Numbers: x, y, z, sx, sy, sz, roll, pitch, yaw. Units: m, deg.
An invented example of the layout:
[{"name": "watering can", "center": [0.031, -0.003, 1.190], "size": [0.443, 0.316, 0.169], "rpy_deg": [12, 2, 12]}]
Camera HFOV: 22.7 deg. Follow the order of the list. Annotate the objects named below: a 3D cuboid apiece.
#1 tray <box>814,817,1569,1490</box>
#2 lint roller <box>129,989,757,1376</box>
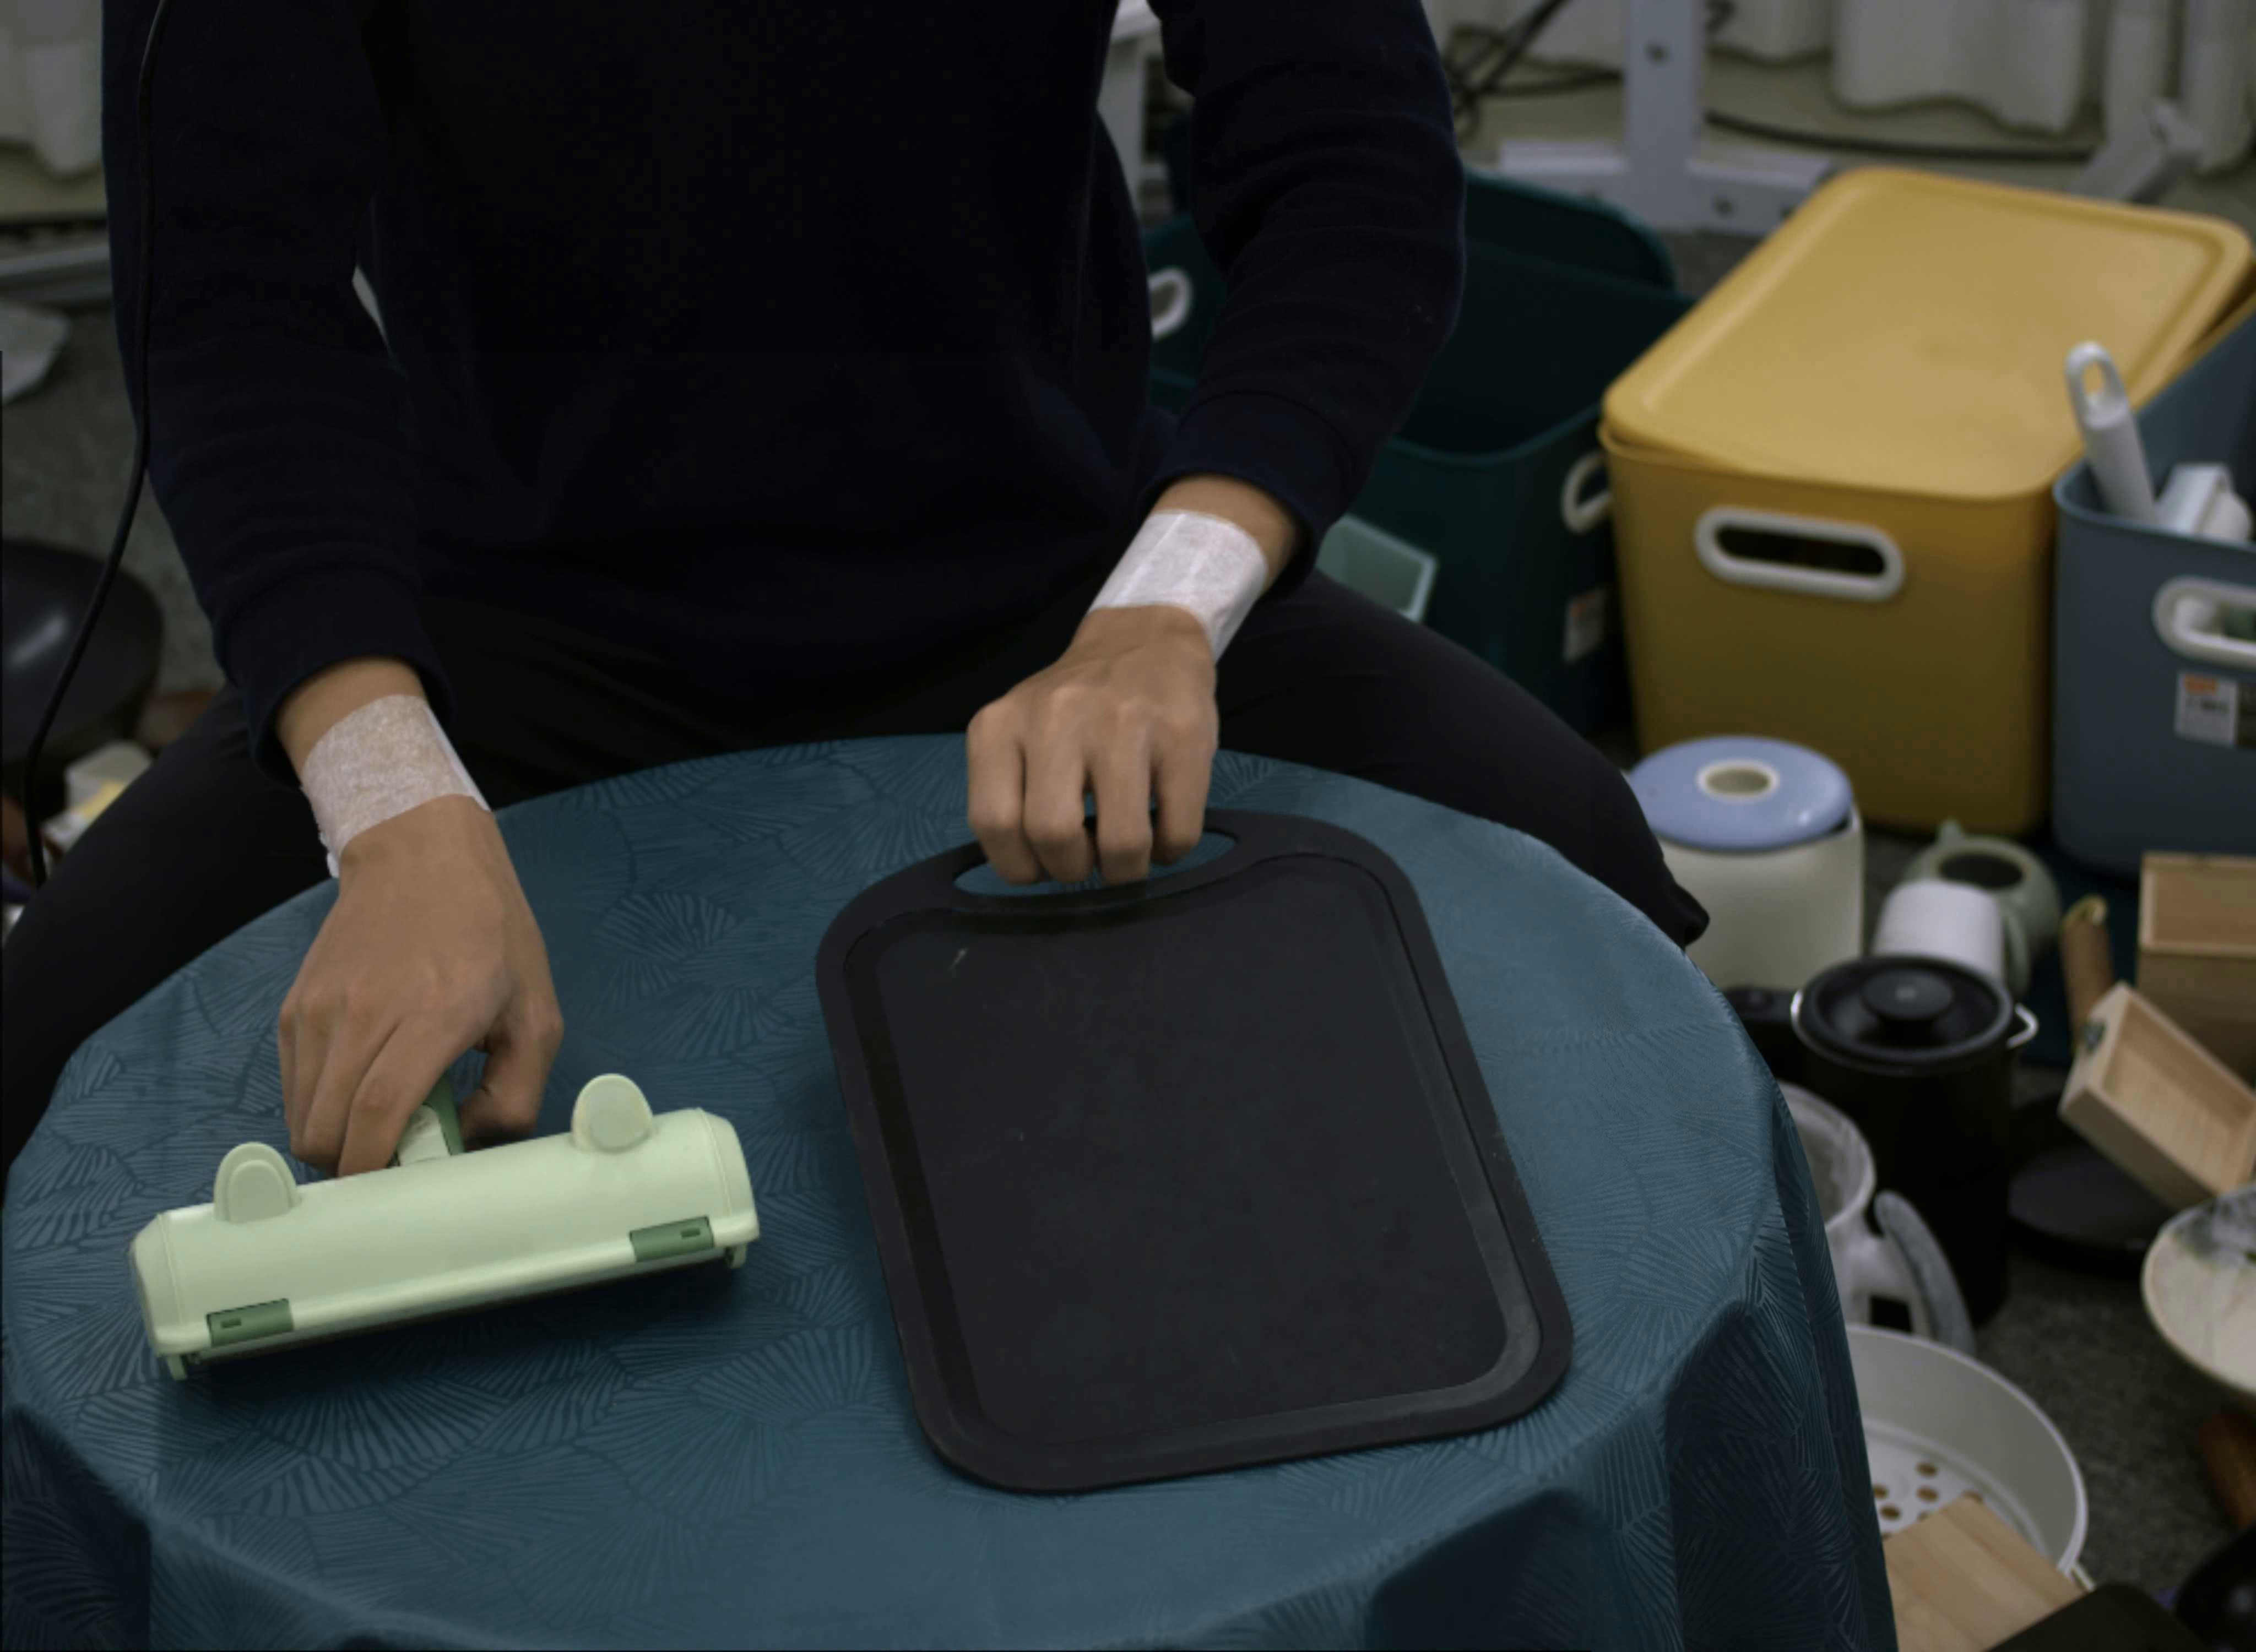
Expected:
[{"name": "tray", "center": [0.013, 0.096, 1.843], "size": [0.211, 0.009, 0.330], "rpy_deg": [-7, 38, -8]}, {"name": "lint roller", "center": [-0.234, 0.093, 1.837], "size": [0.198, 0.081, 0.186], "rpy_deg": [-10, 40, -13]}]
